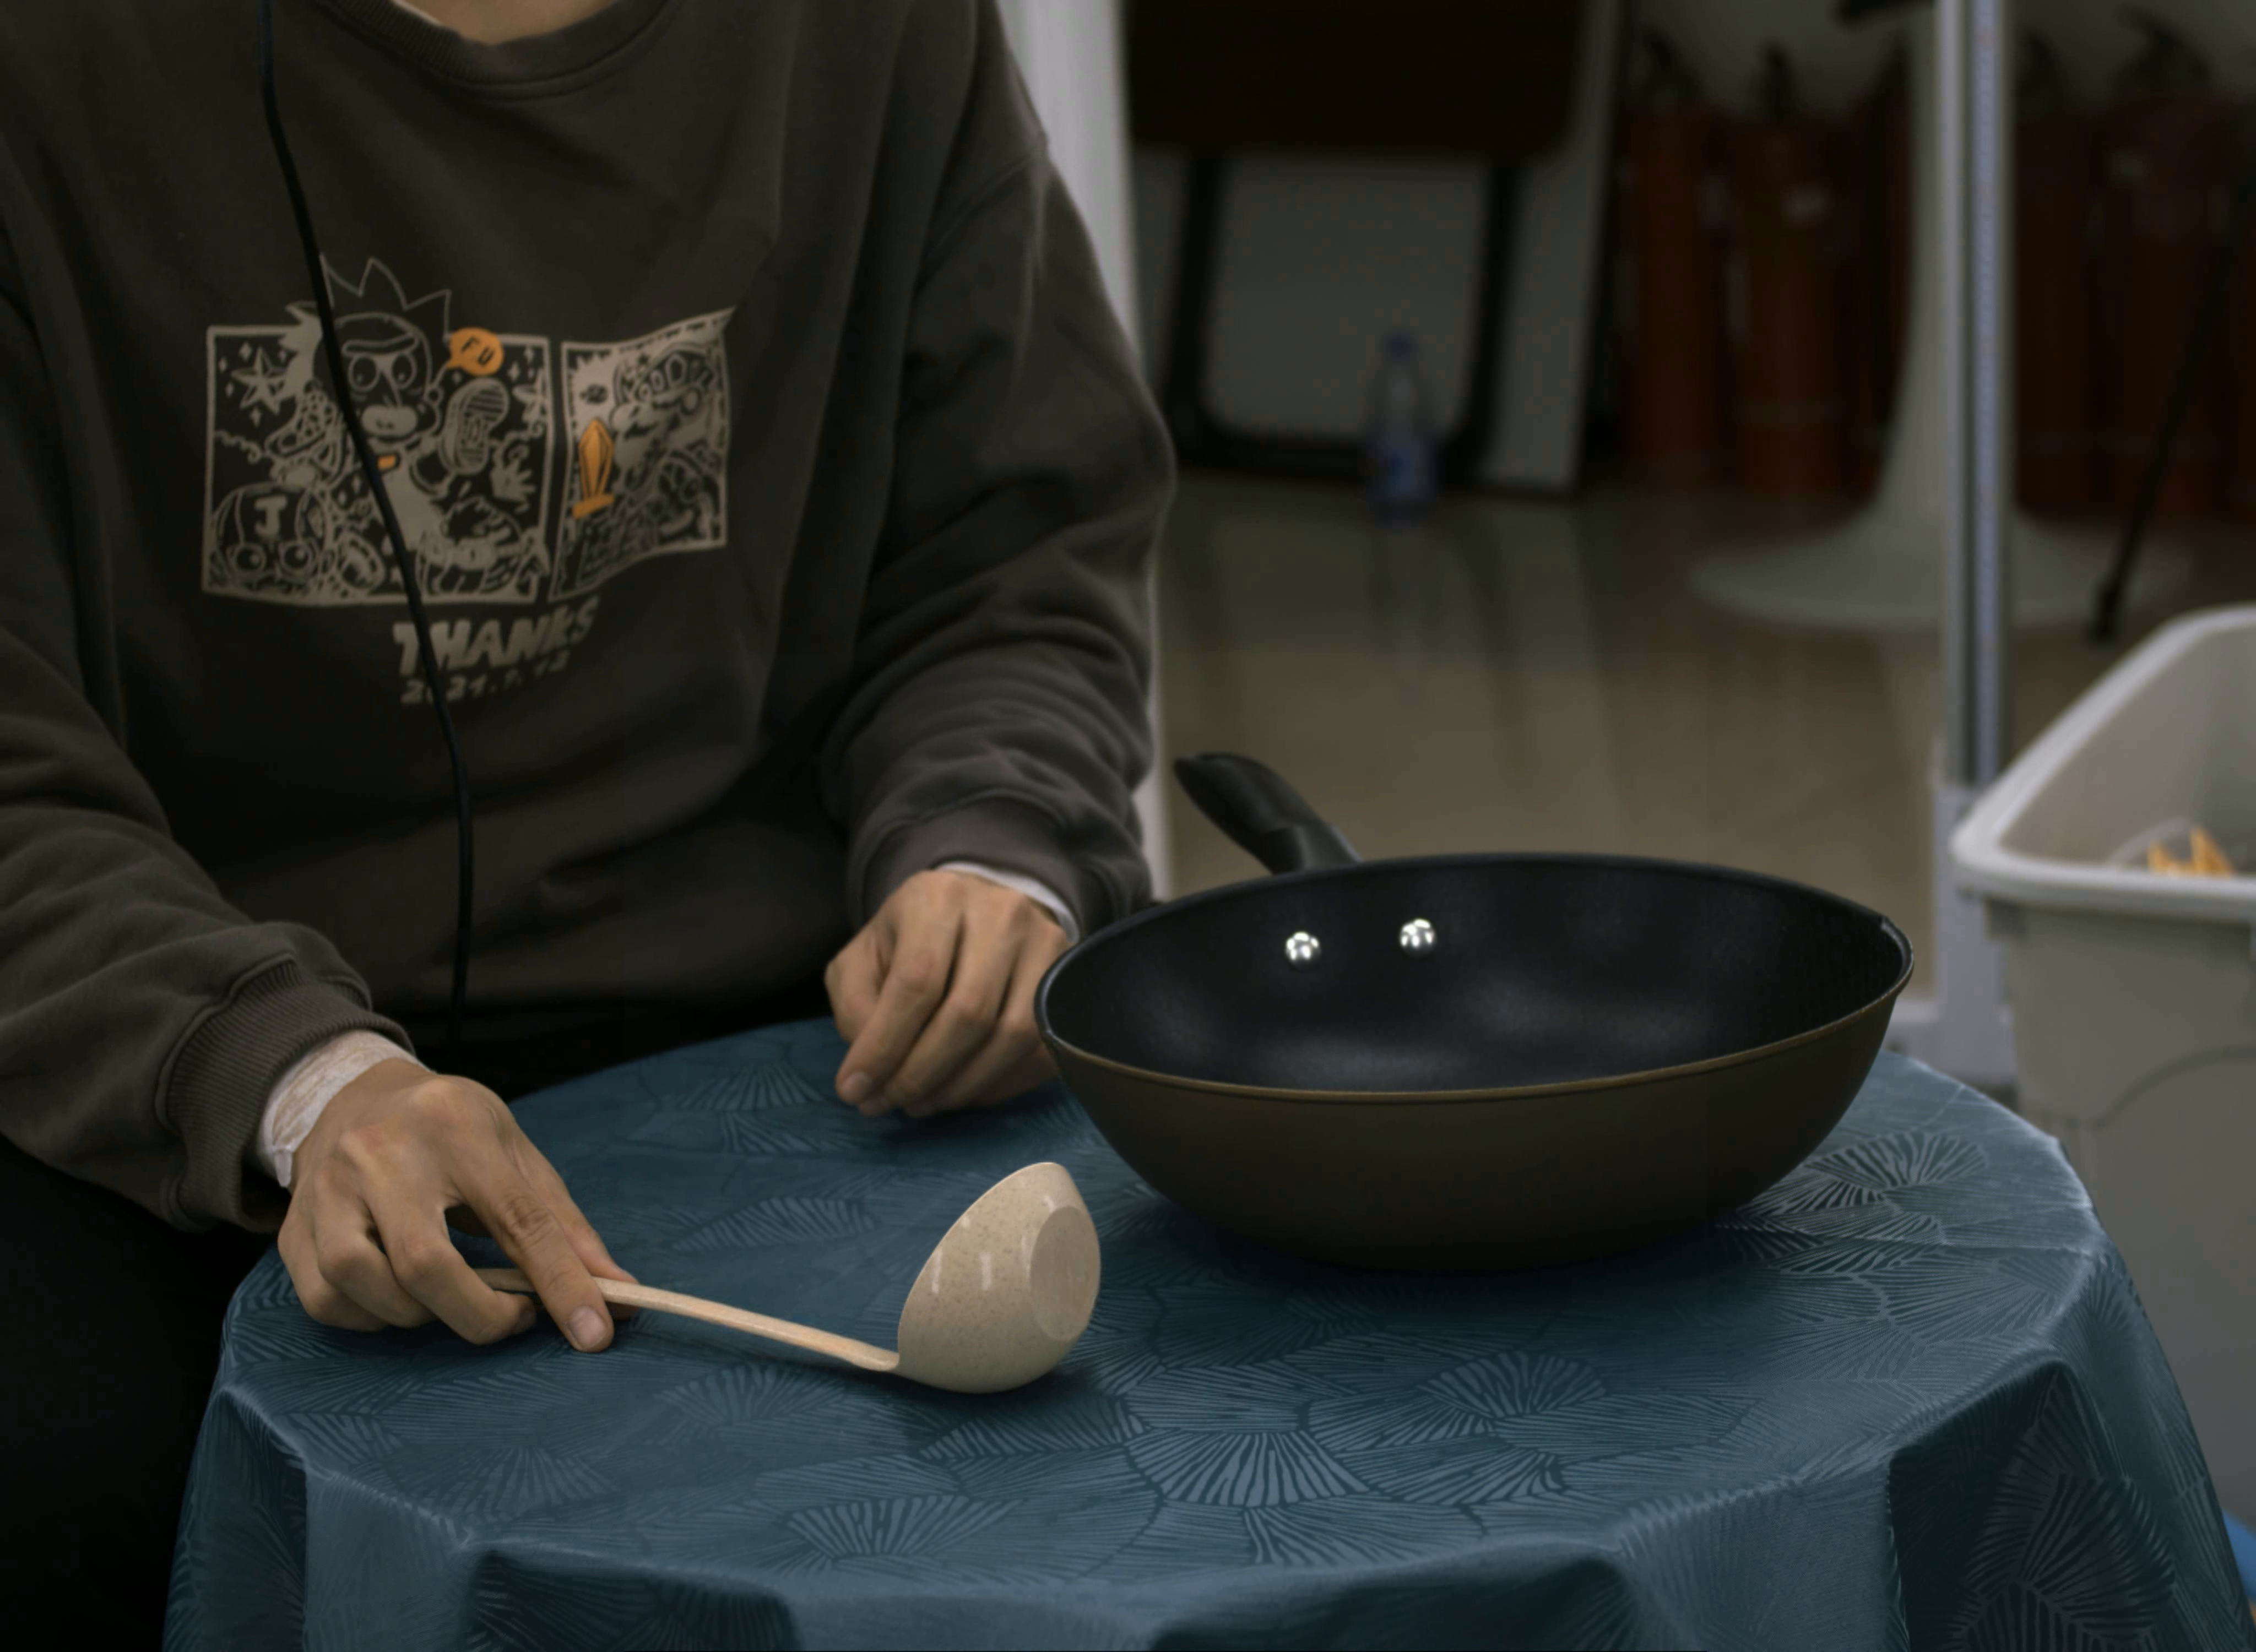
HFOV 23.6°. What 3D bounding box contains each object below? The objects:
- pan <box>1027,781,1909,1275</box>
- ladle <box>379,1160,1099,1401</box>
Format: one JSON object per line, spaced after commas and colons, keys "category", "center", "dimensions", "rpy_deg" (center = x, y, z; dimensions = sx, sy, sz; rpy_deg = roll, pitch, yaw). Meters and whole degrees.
{"category": "pan", "center": [0.088, 0.065, 1.811], "dimensions": [0.283, 0.088, 0.466], "rpy_deg": [-7, 13, -13]}
{"category": "ladle", "center": [-0.124, 0.124, 1.640], "dimensions": [0.255, 0.074, 0.071], "rpy_deg": [6, 6, 32]}
